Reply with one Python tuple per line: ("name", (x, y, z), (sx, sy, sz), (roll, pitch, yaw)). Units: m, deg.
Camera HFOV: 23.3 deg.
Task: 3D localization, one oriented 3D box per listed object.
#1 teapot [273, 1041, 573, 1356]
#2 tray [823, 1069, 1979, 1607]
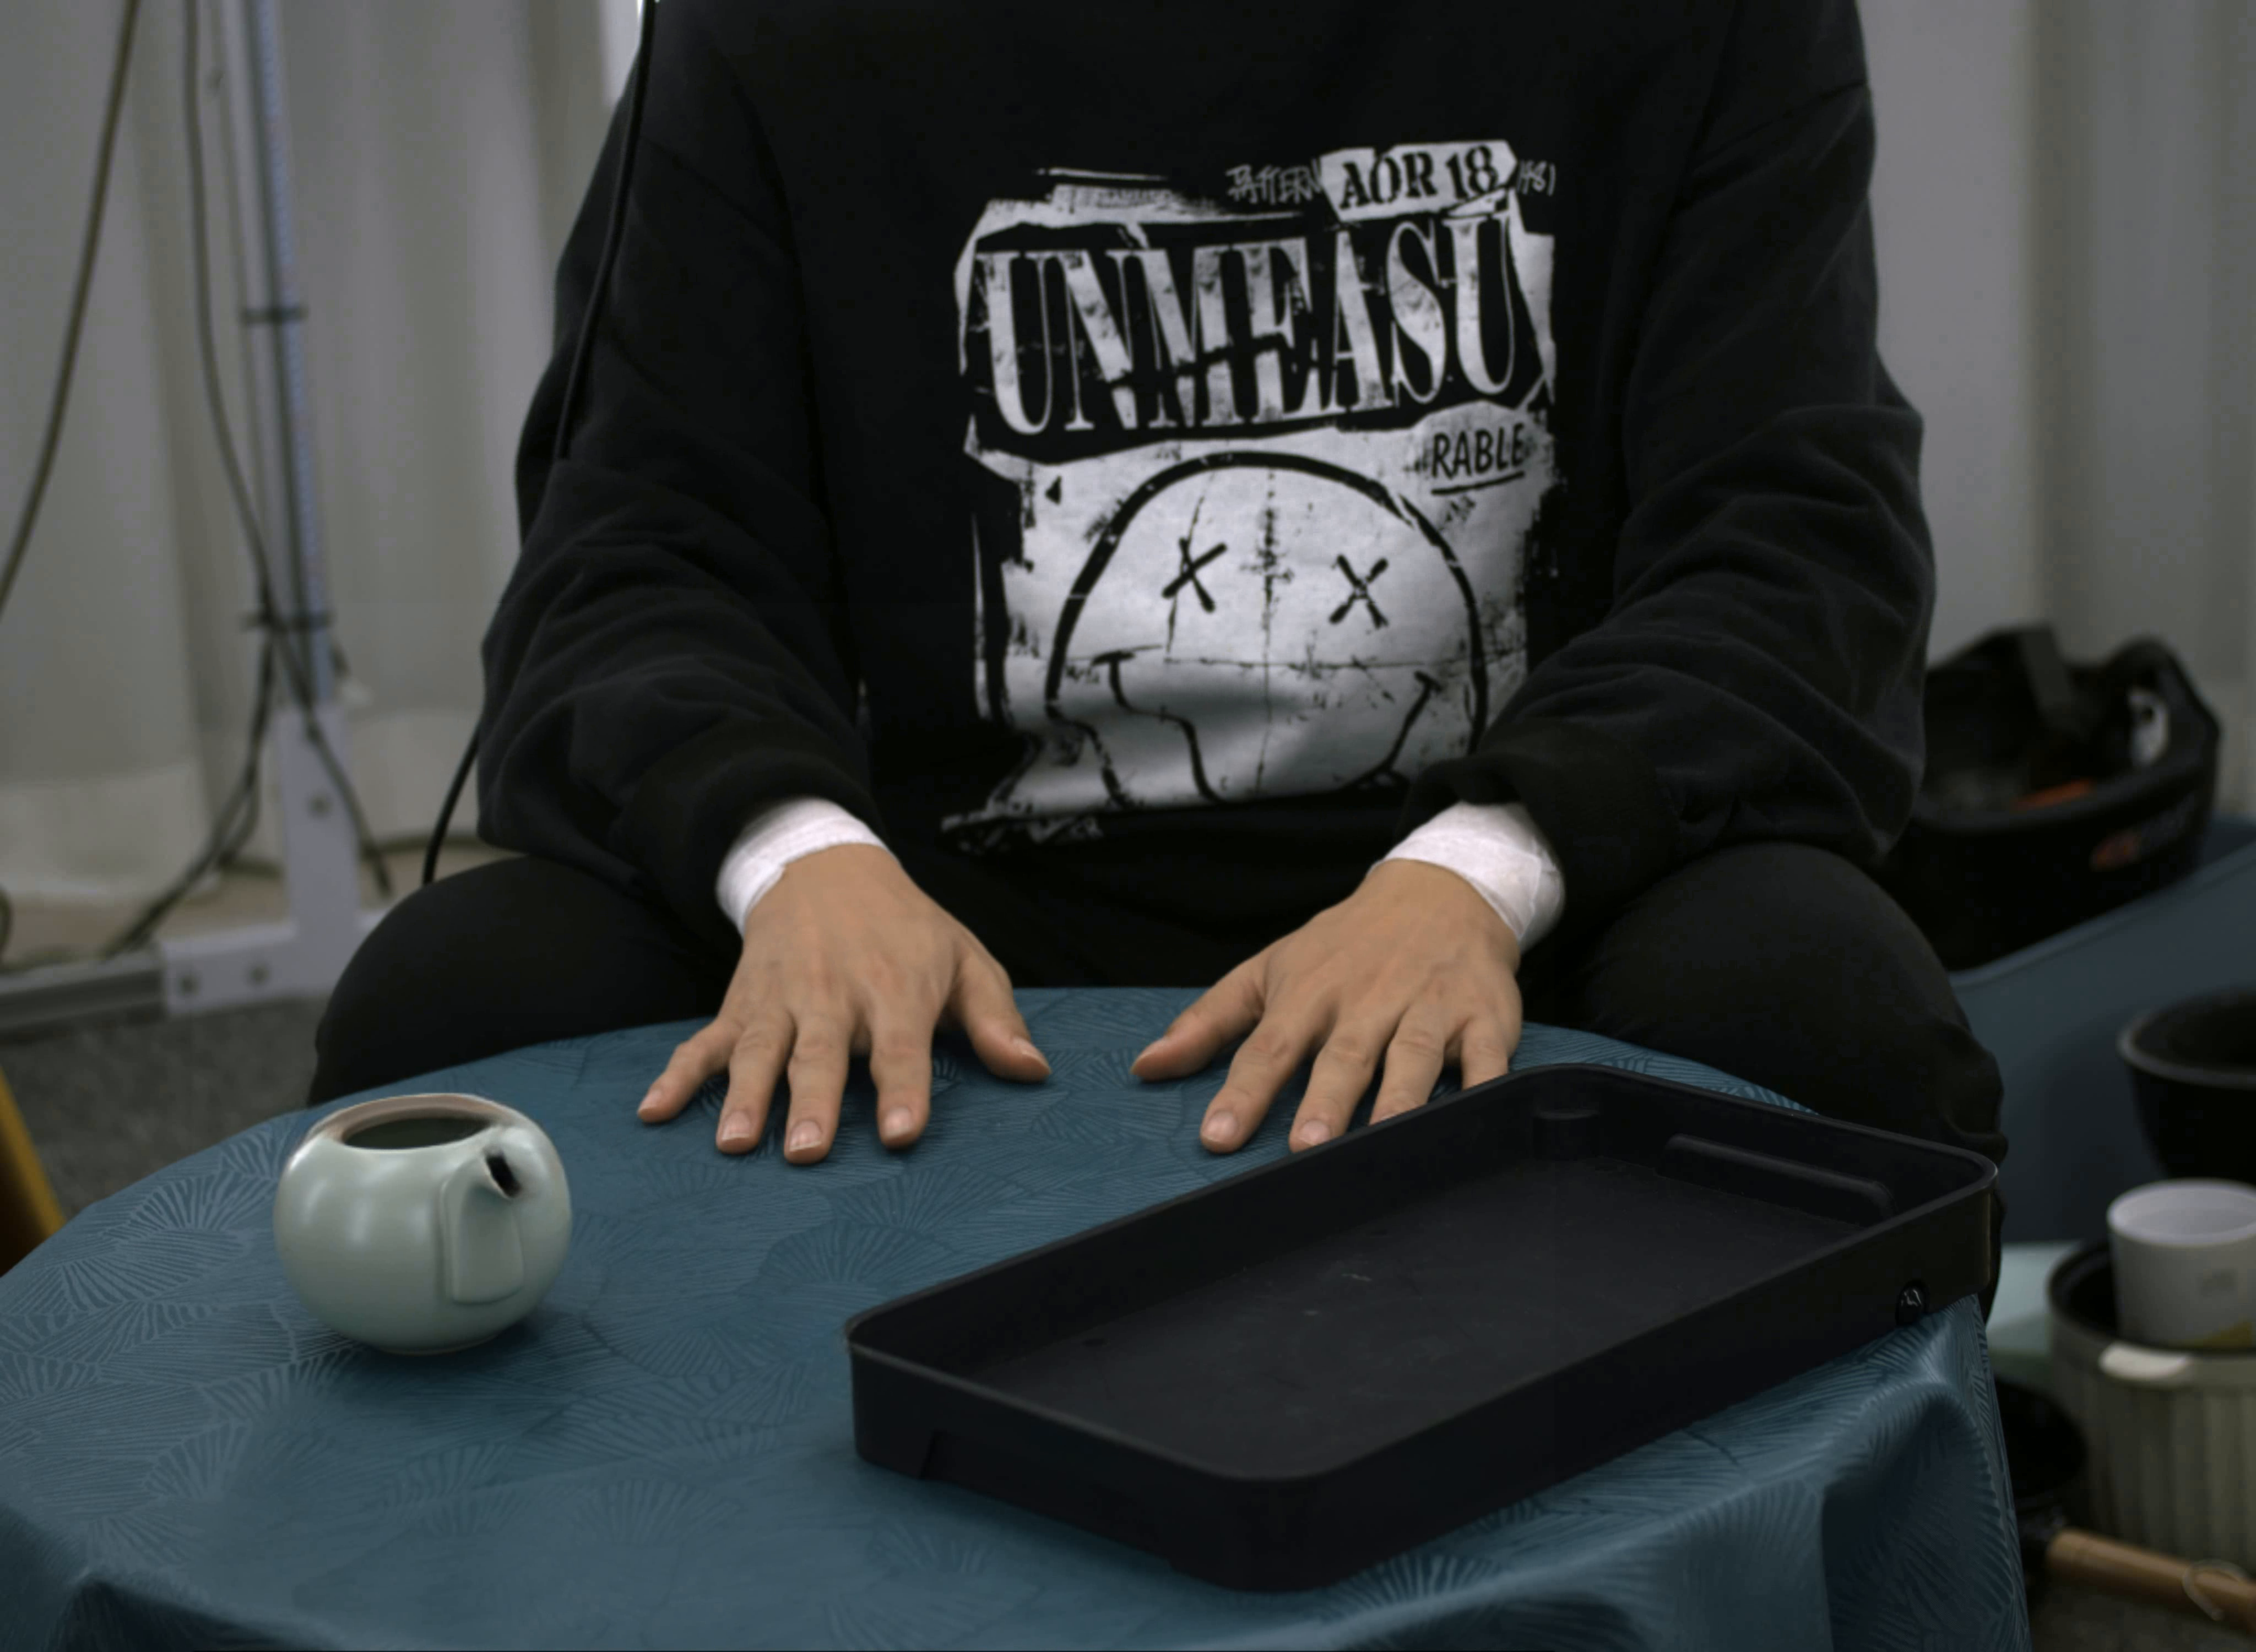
("teapot", (-0.208, 0.115, 1.613), (0.088, 0.074, 0.145), (-9, 18, -26))
("tray", (0.082, 0.137, 1.545), (0.185, 0.037, 0.317), (12, 20, 43))
